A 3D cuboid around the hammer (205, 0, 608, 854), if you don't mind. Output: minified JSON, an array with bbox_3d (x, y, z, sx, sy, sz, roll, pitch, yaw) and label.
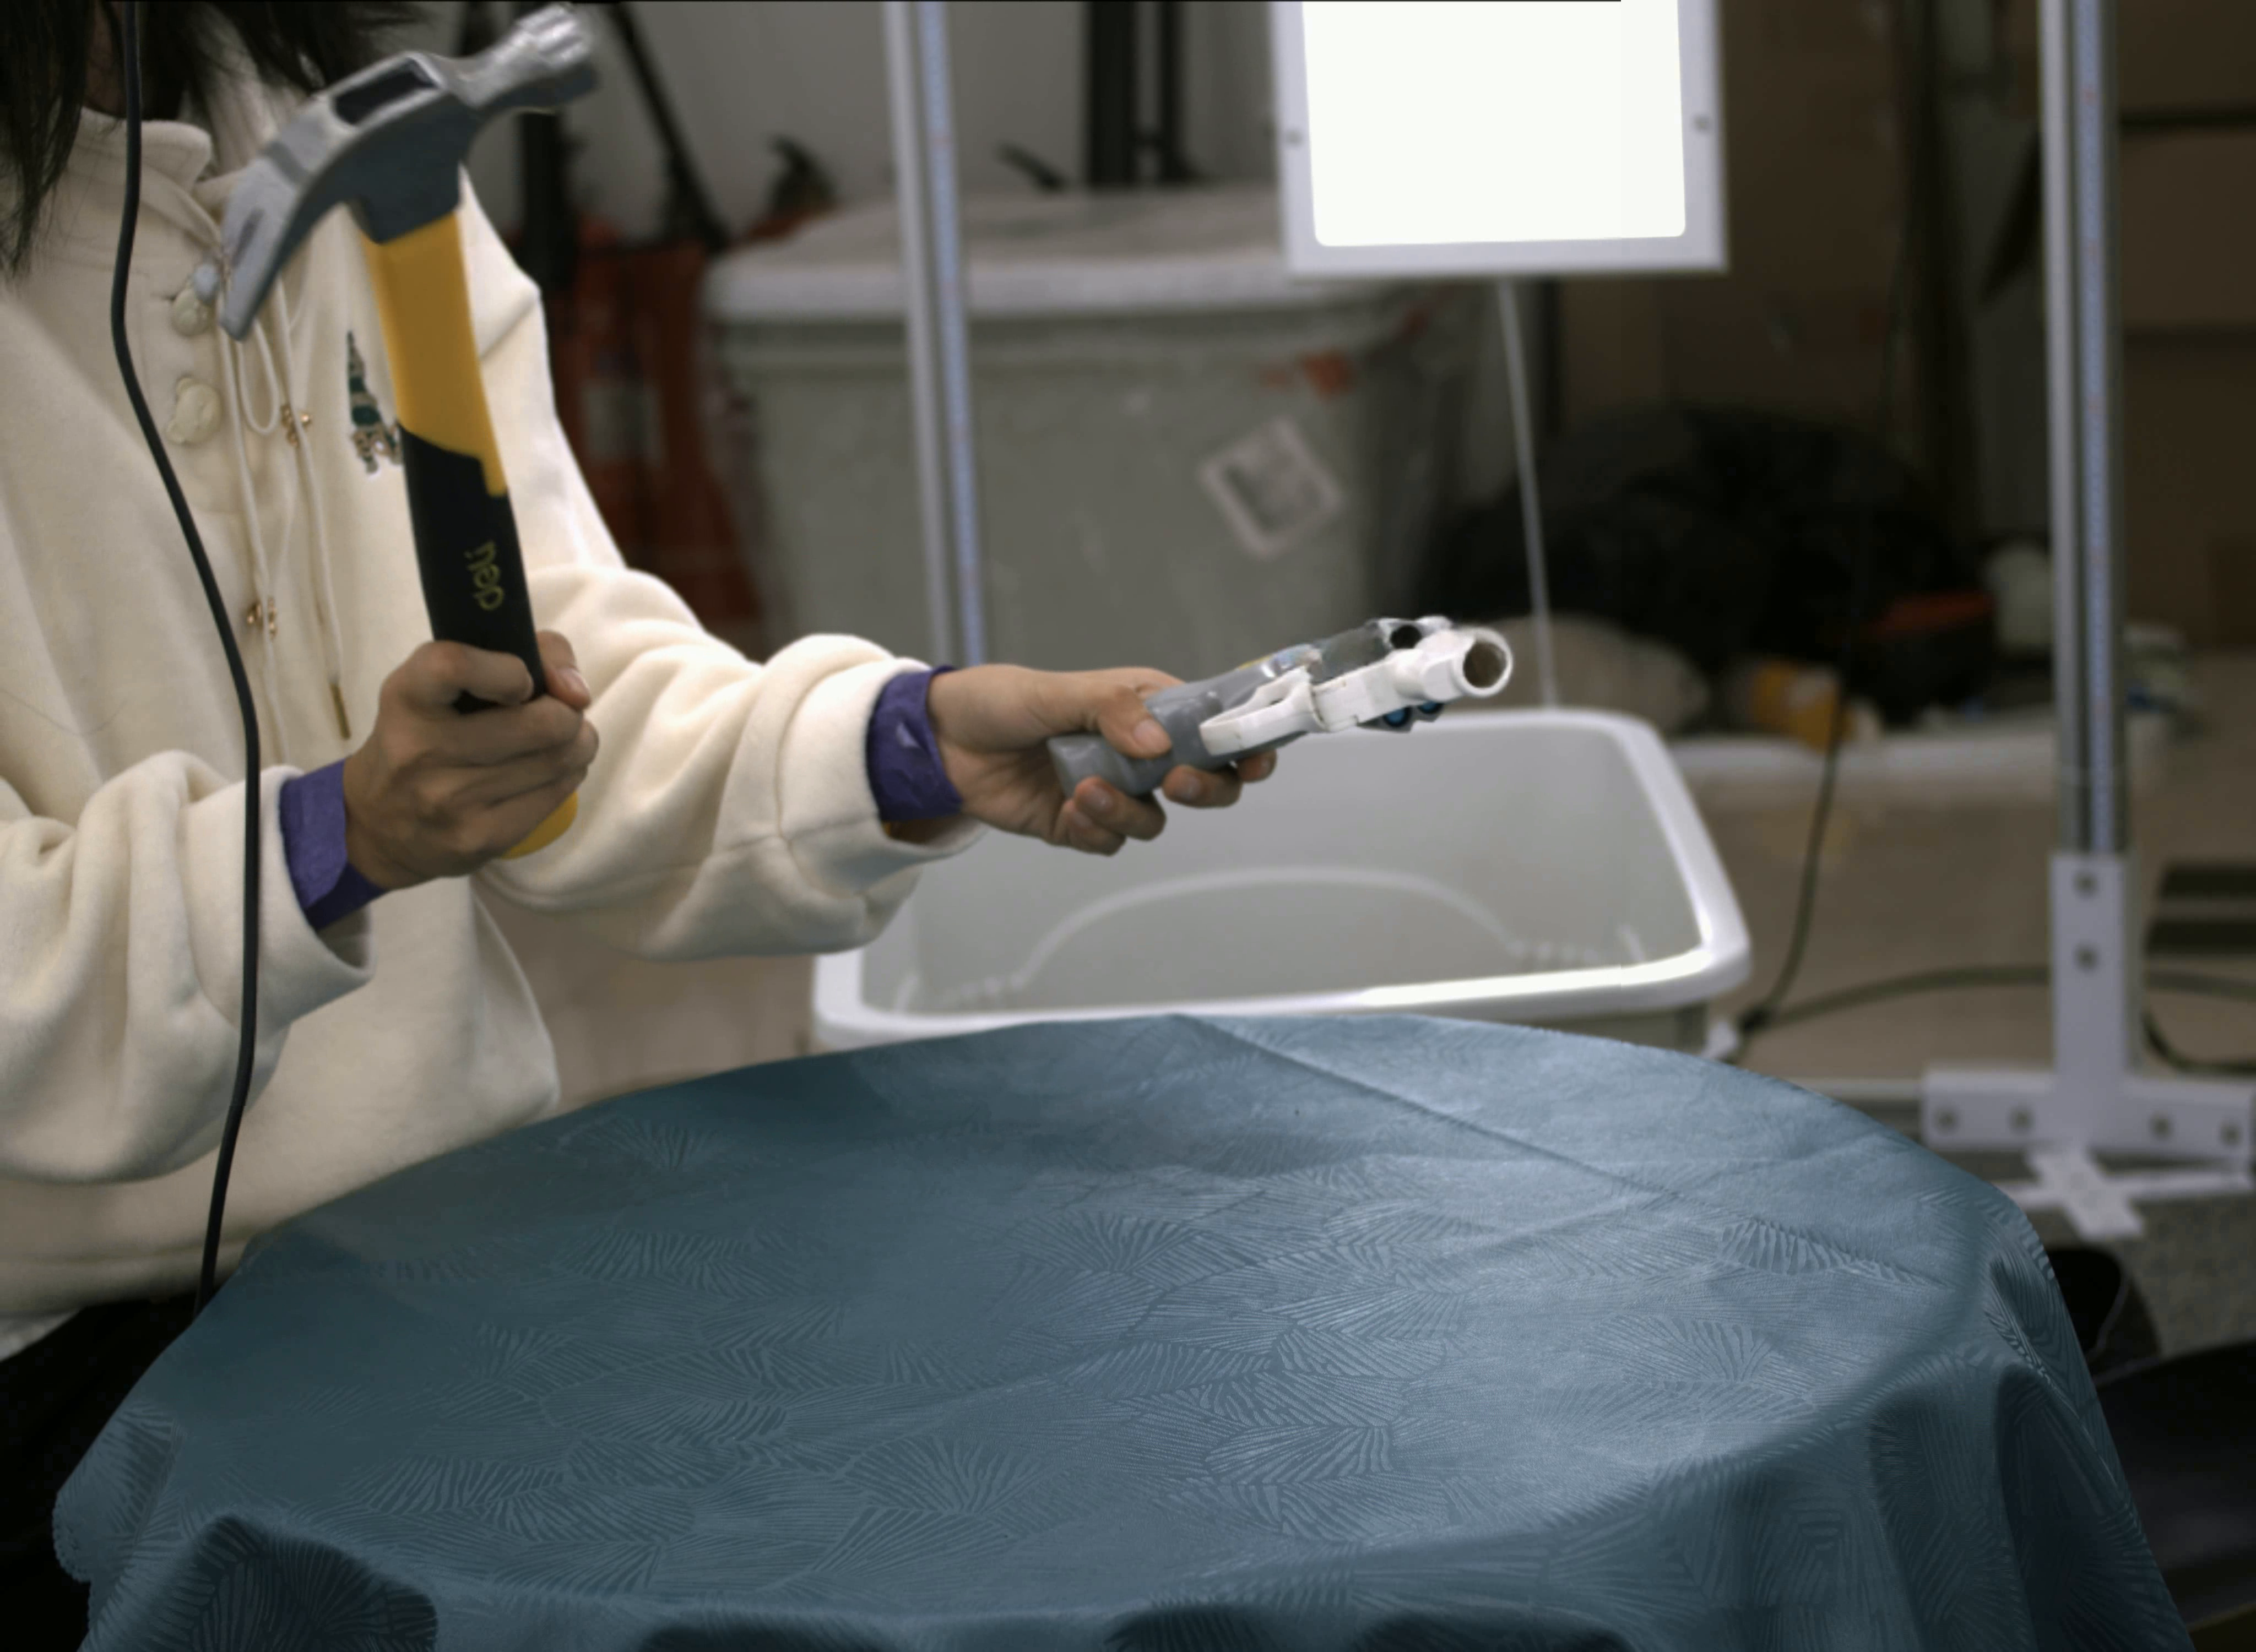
[{"bbox_3d":[-0.215,-0.111,1.774,0.129,0.340,0.032,-28,54,-20],"label":"hammer"}]

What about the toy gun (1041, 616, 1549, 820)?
[{"bbox_3d":[0.054,-0.041,1.892,0.140,0.039,0.211,-20,5,-11],"label":"toy gun"}]
